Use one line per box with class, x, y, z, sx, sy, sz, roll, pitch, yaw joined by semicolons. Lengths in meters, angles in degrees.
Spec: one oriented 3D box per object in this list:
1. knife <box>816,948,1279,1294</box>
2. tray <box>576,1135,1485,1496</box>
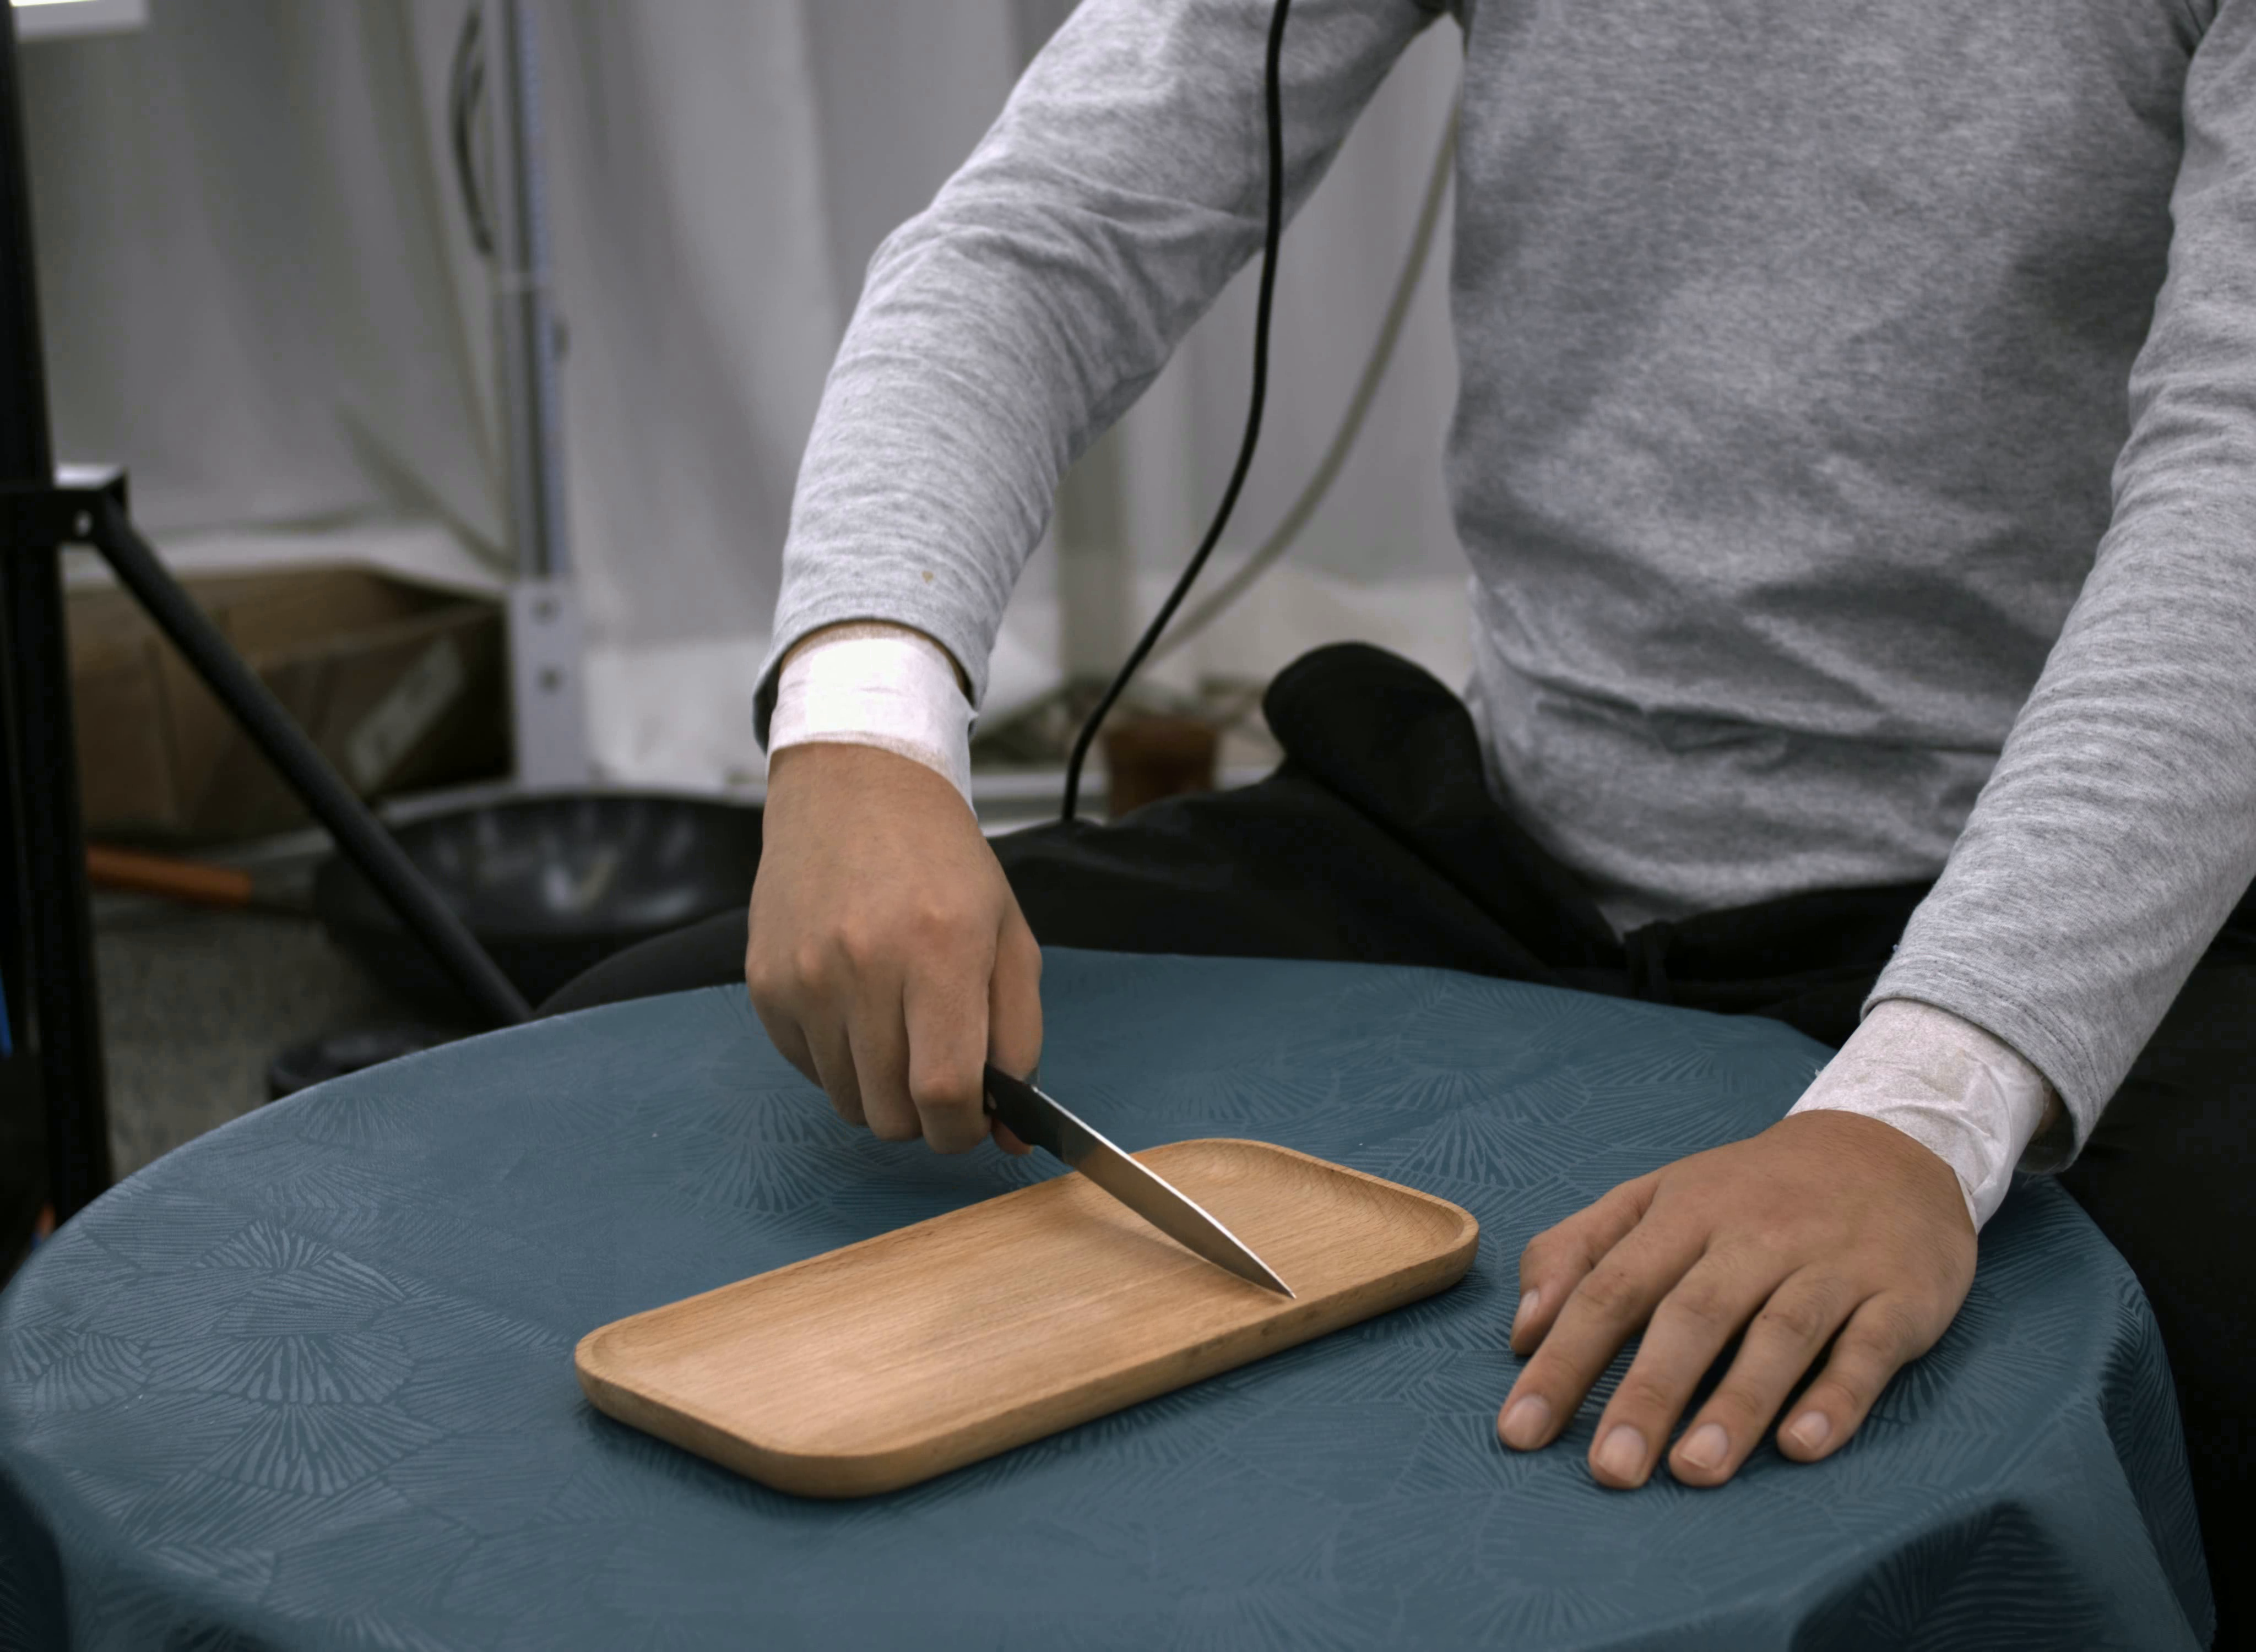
knife;-0.023;0.087;1.532;0.016;0.024;0.244;-26;35;-25
tray;-0.023;0.131;1.452;0.245;0.023;0.133;-14;22;-37
